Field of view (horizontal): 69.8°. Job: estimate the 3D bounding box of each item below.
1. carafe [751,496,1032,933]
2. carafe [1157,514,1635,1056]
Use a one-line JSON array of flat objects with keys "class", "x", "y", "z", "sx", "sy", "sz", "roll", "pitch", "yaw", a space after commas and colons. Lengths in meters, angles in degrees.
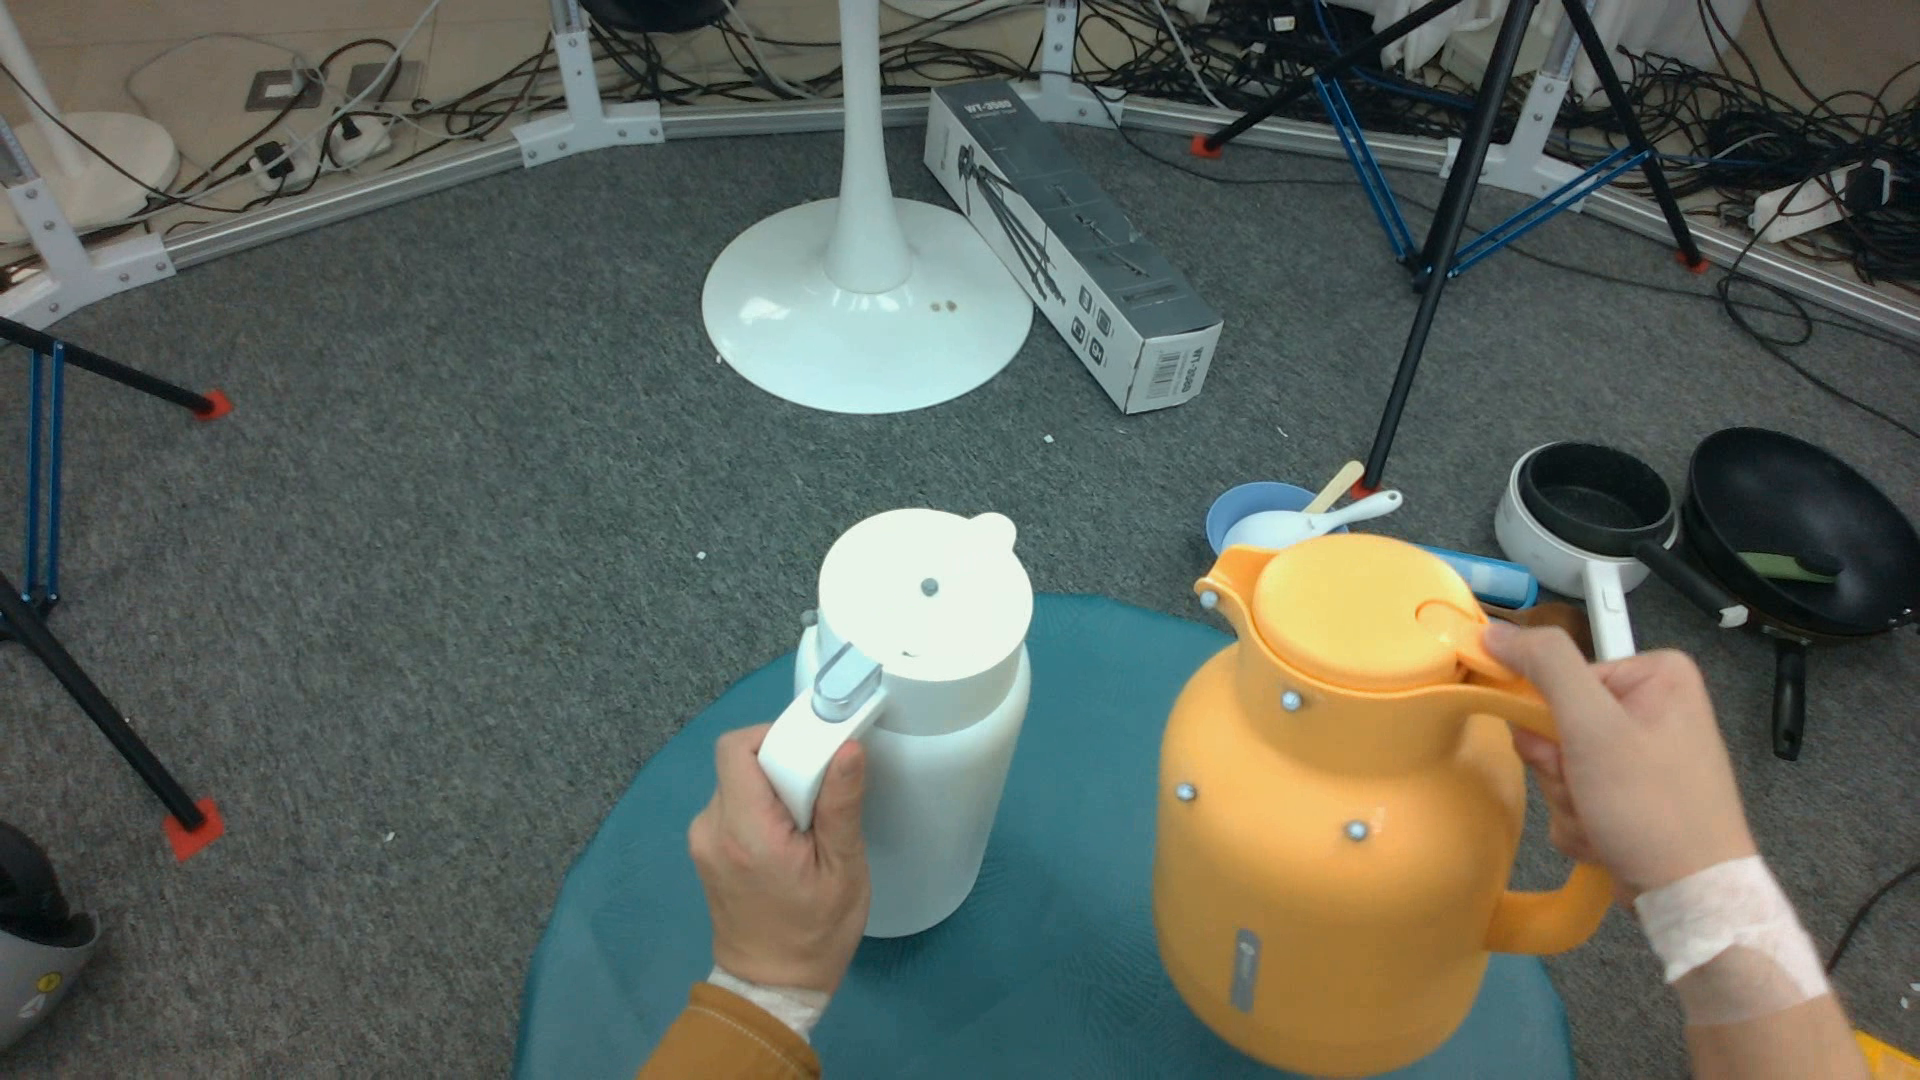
[{"class": "carafe", "x": -0.041, "y": 0.112, "z": 0.716, "sx": 0.124, "sy": 0.267, "sz": 0.173, "roll": 33, "pitch": 54, "yaw": 14}, {"class": "carafe", "x": 0.188, "y": 0.118, "z": 0.632, "sx": 0.202, "sy": 0.259, "sz": 0.164, "roll": 22, "pitch": 49, "yaw": 31}]
